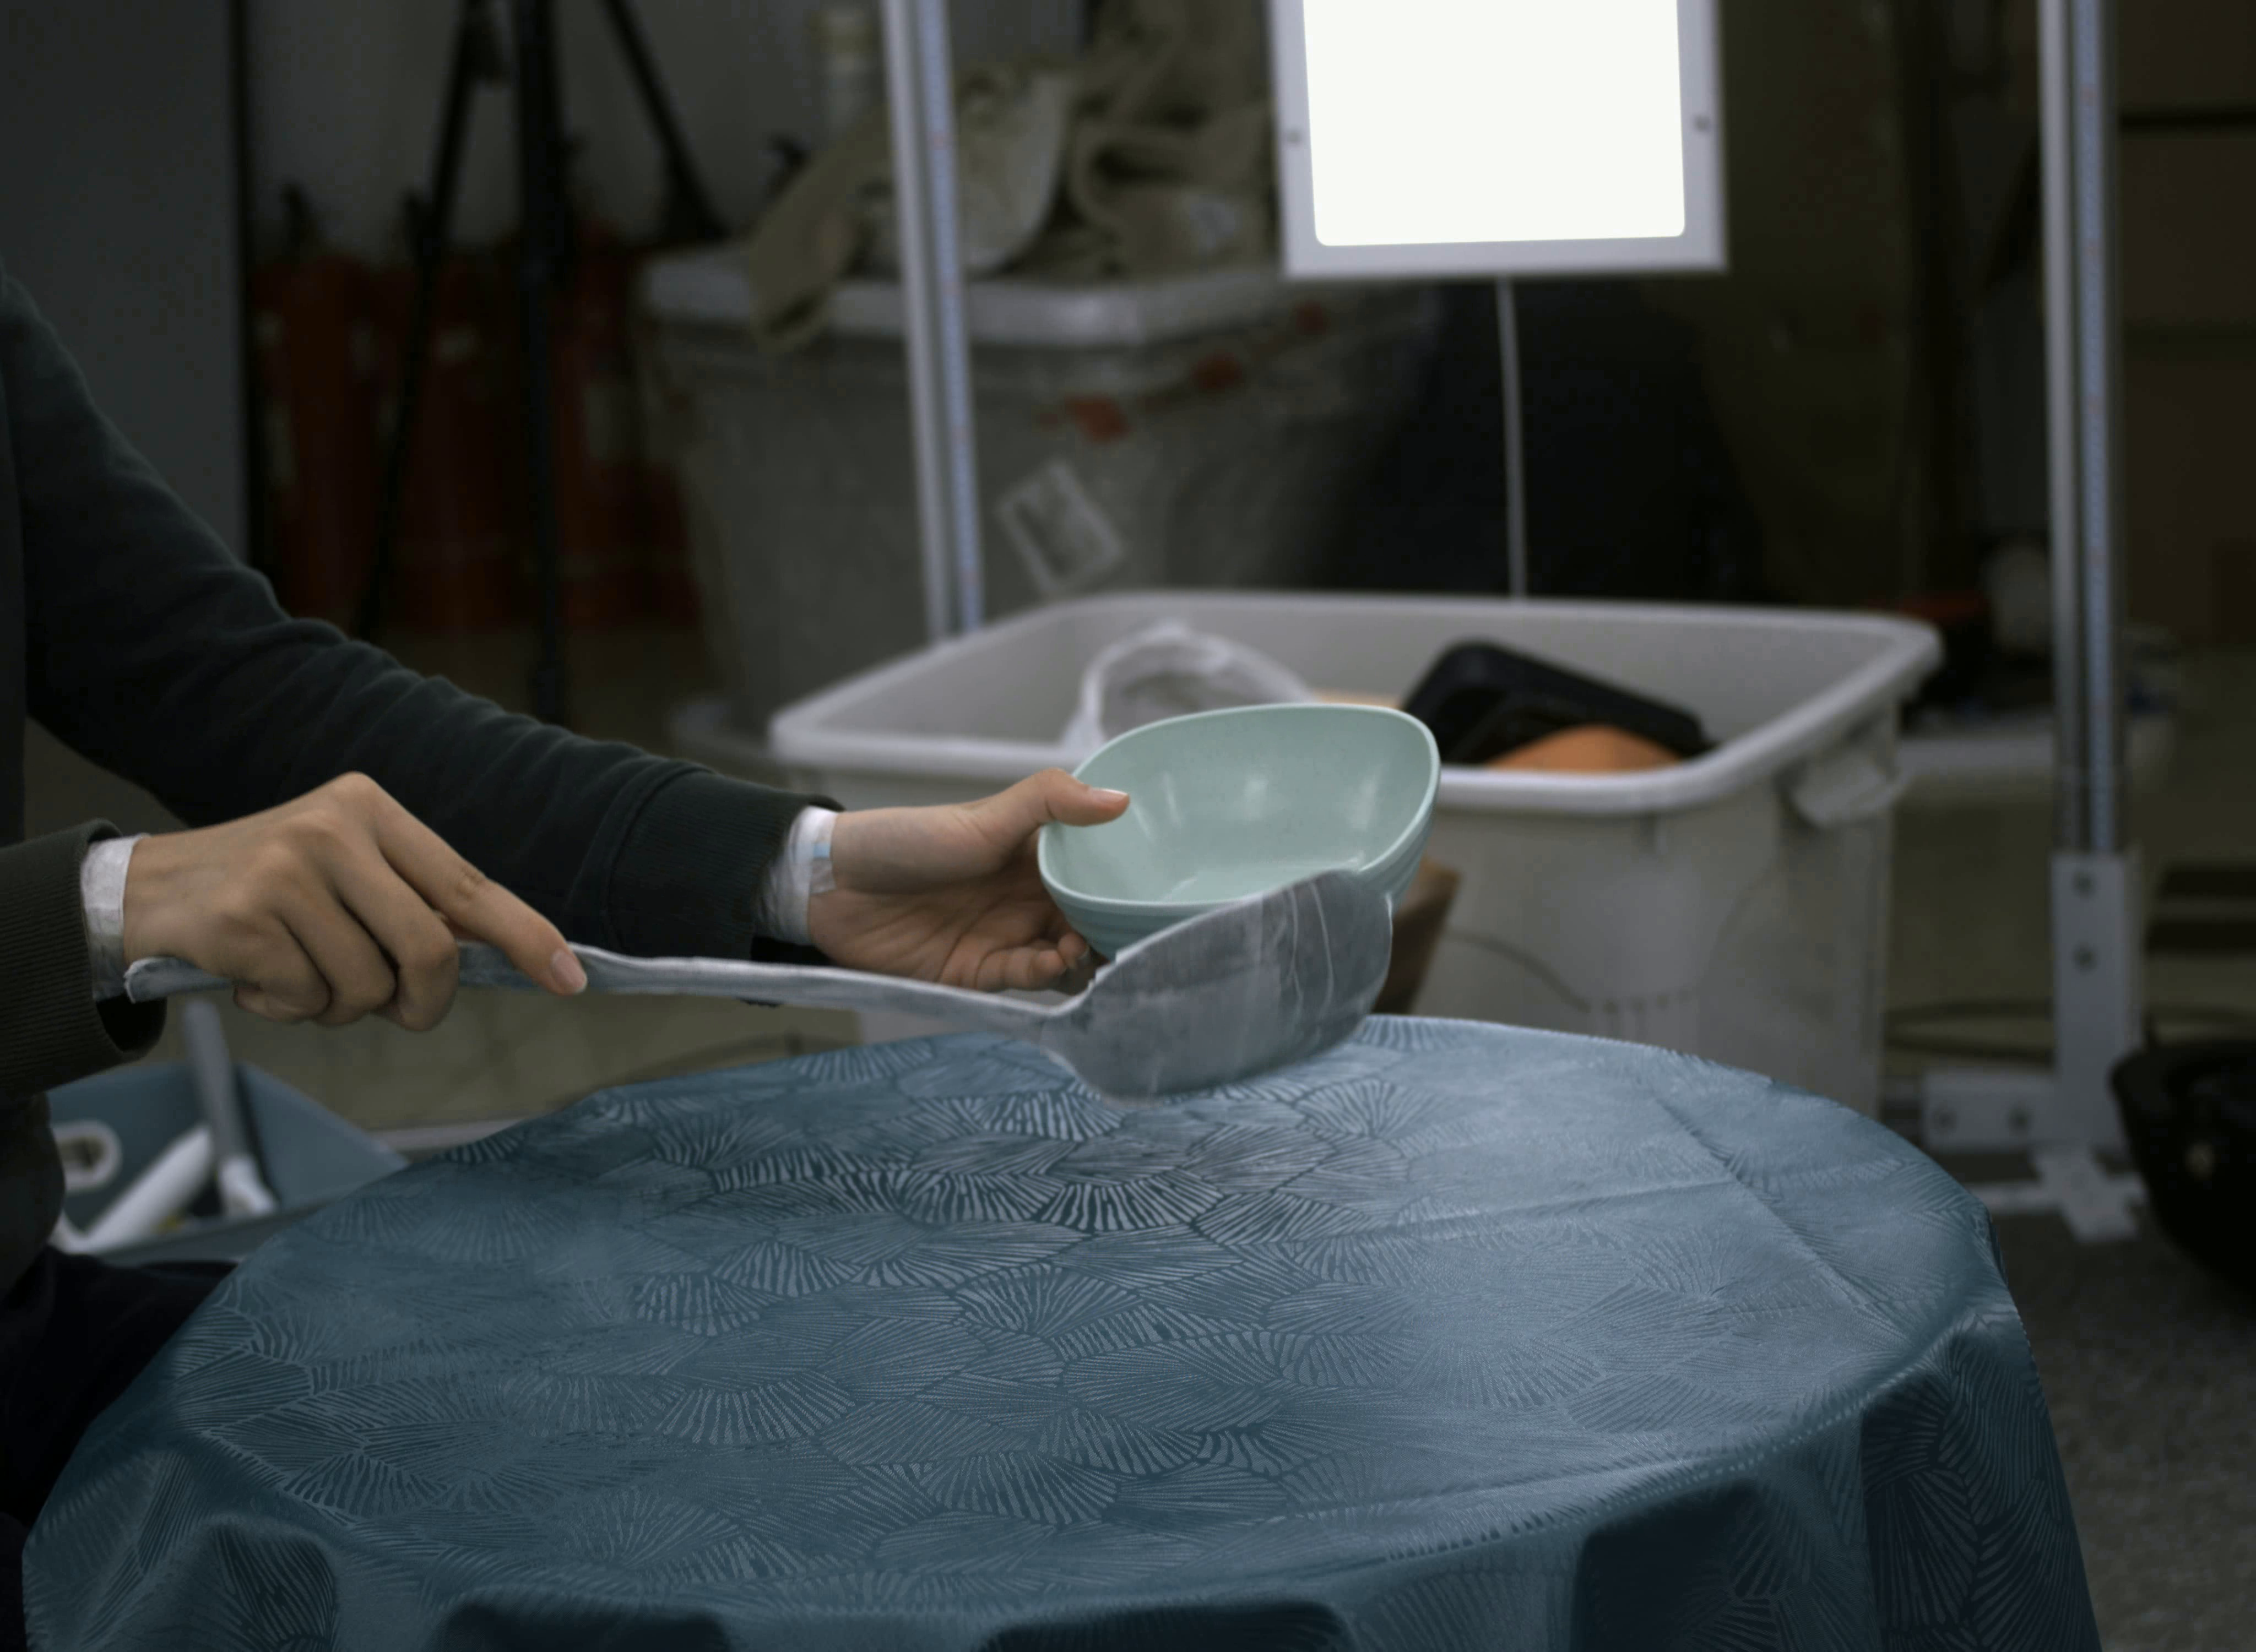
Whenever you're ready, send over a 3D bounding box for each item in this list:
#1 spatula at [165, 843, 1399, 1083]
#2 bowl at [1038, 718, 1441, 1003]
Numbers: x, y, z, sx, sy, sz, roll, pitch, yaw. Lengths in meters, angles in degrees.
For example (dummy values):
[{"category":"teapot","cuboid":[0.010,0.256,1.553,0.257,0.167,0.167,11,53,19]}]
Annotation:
[{"category":"spatula","cuboid":[-0.101,0.041,1.627,0.364,0.099,0.044,2,55,0]},{"category":"bowl","cuboid":[0.043,0.018,1.901,0.151,0.059,0.151,-10,26,3]}]
